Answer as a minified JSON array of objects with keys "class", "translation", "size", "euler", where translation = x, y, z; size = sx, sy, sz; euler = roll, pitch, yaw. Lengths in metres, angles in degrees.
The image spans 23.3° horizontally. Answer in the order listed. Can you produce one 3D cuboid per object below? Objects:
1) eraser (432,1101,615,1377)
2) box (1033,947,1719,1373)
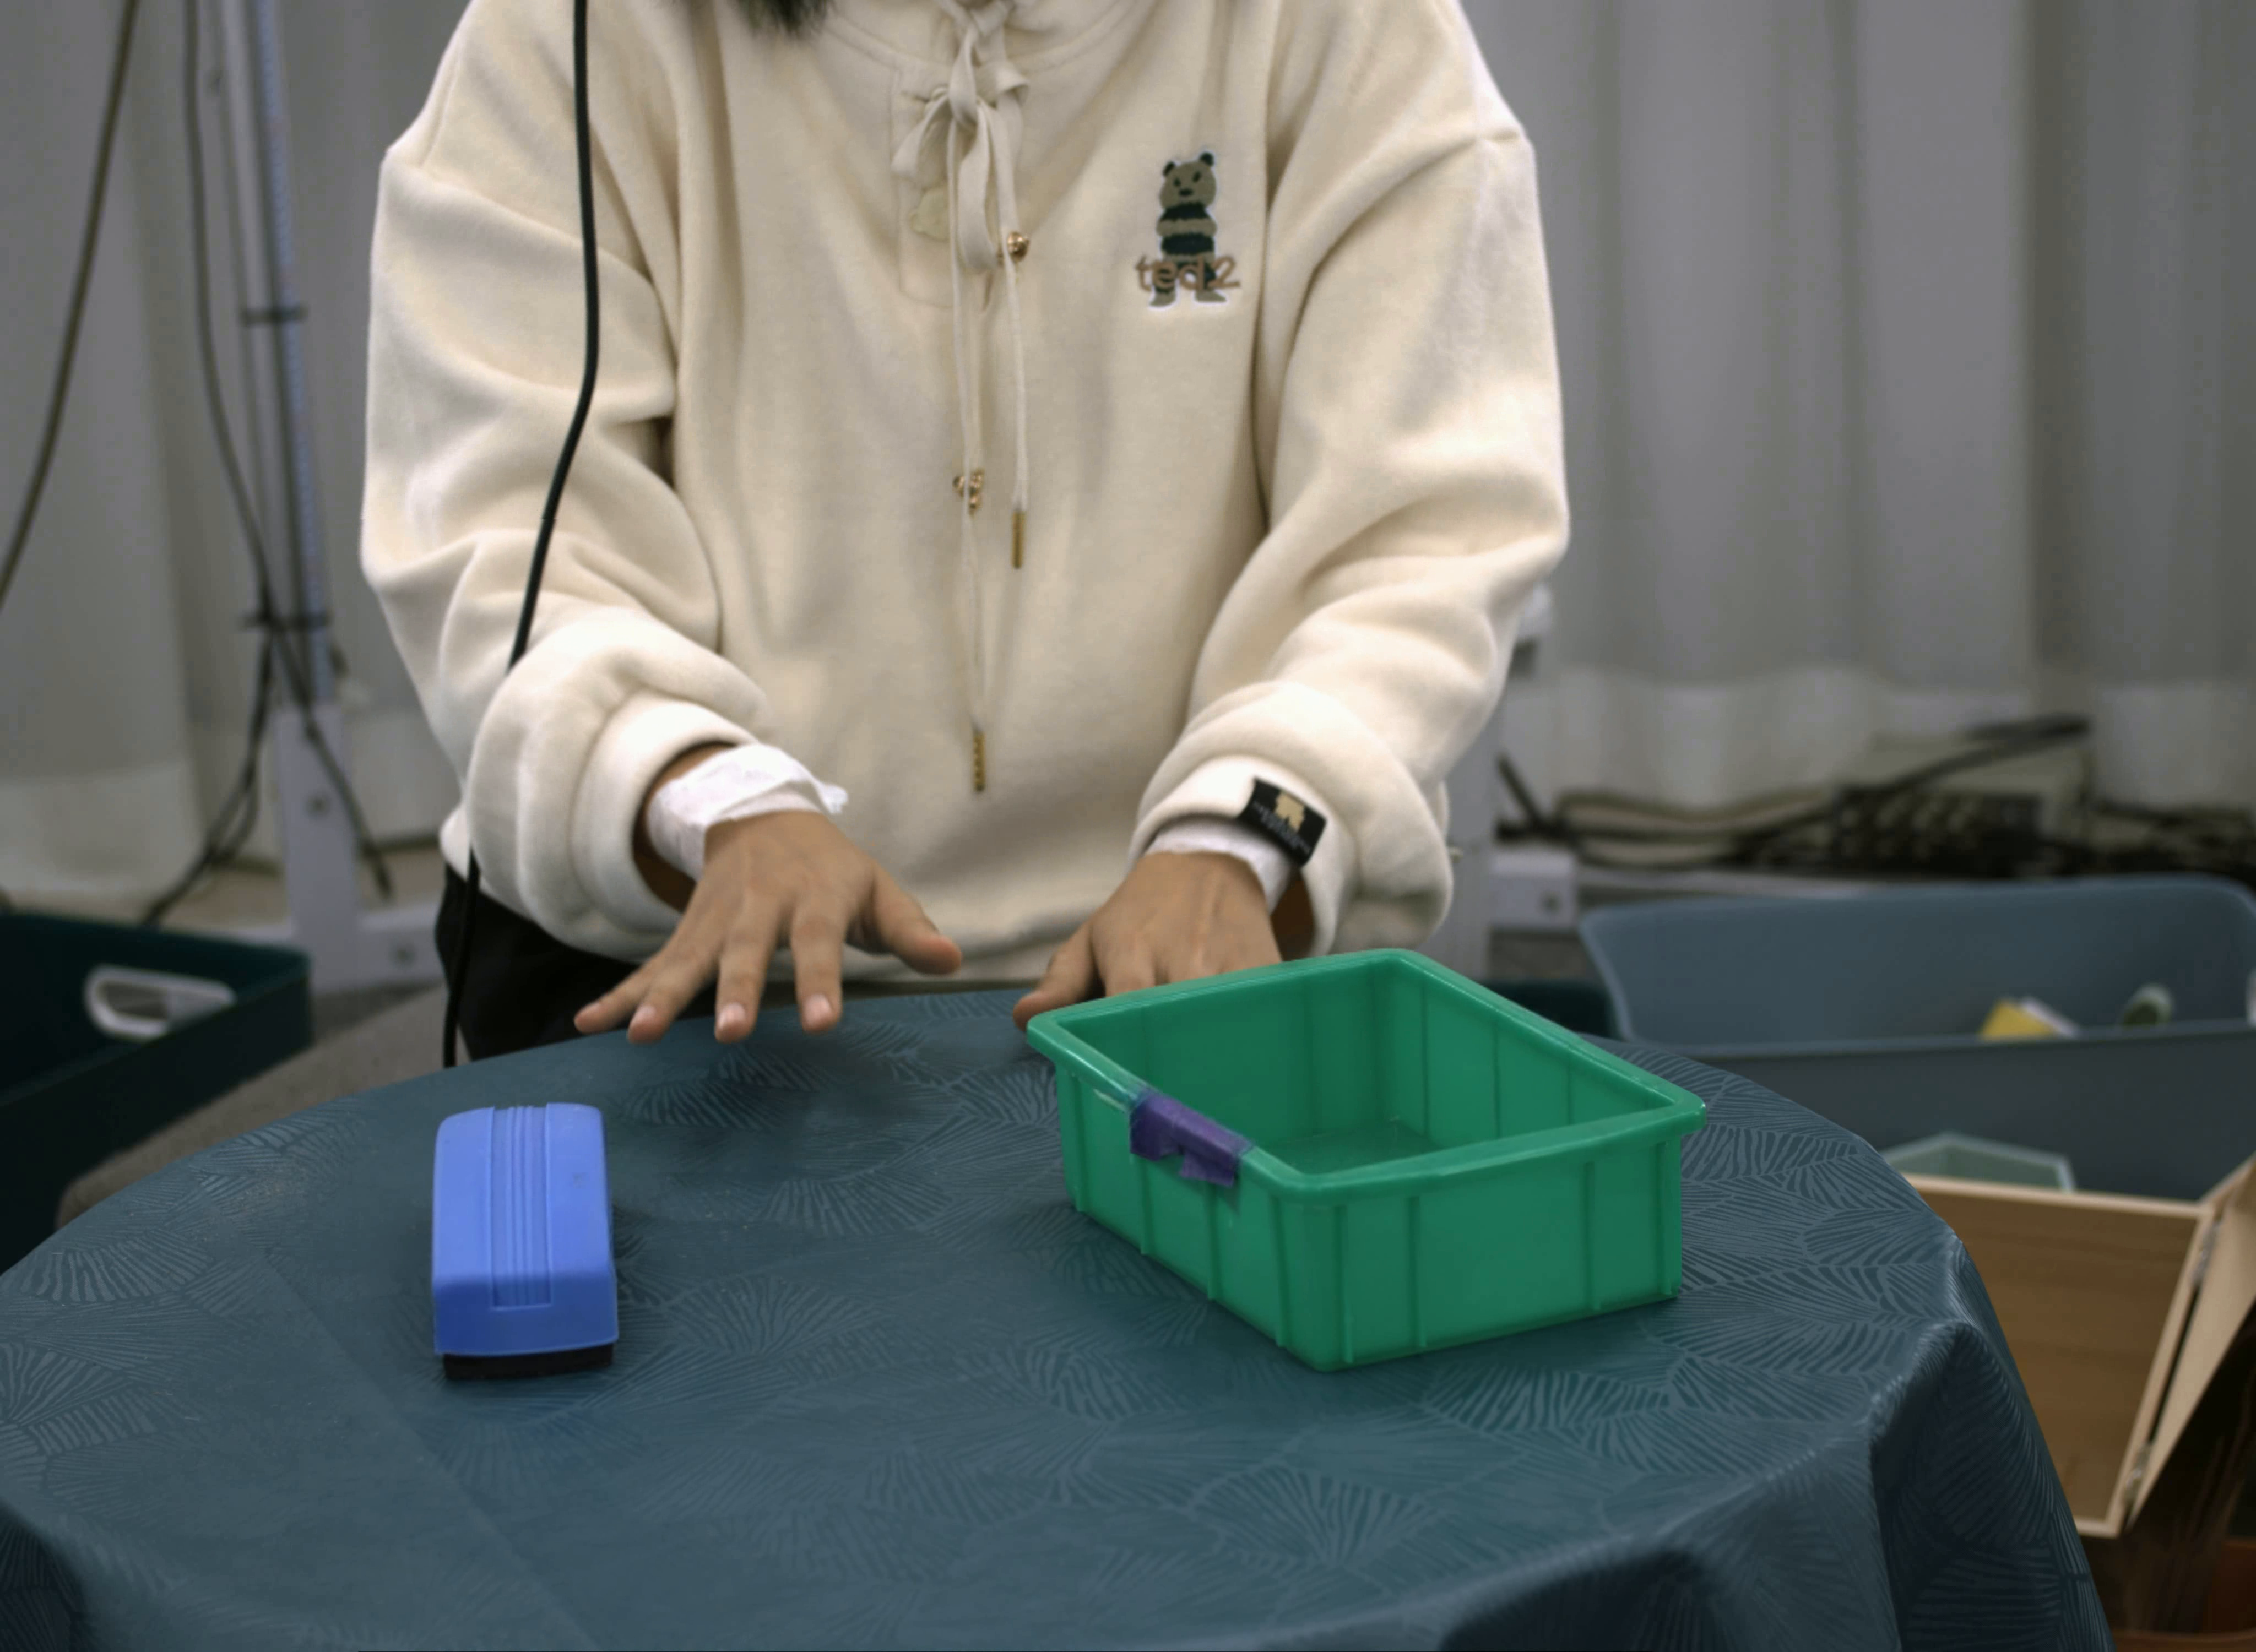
[{"class":"eraser","translation":[-0.183,0.118,1.649],"size":[0.053,0.047,0.163],"euler":[-4,15,-5]},{"class":"box","translation":[0.072,0.099,1.641],"size":[0.138,0.065,0.212],"euler":[-12,17,-24]}]
